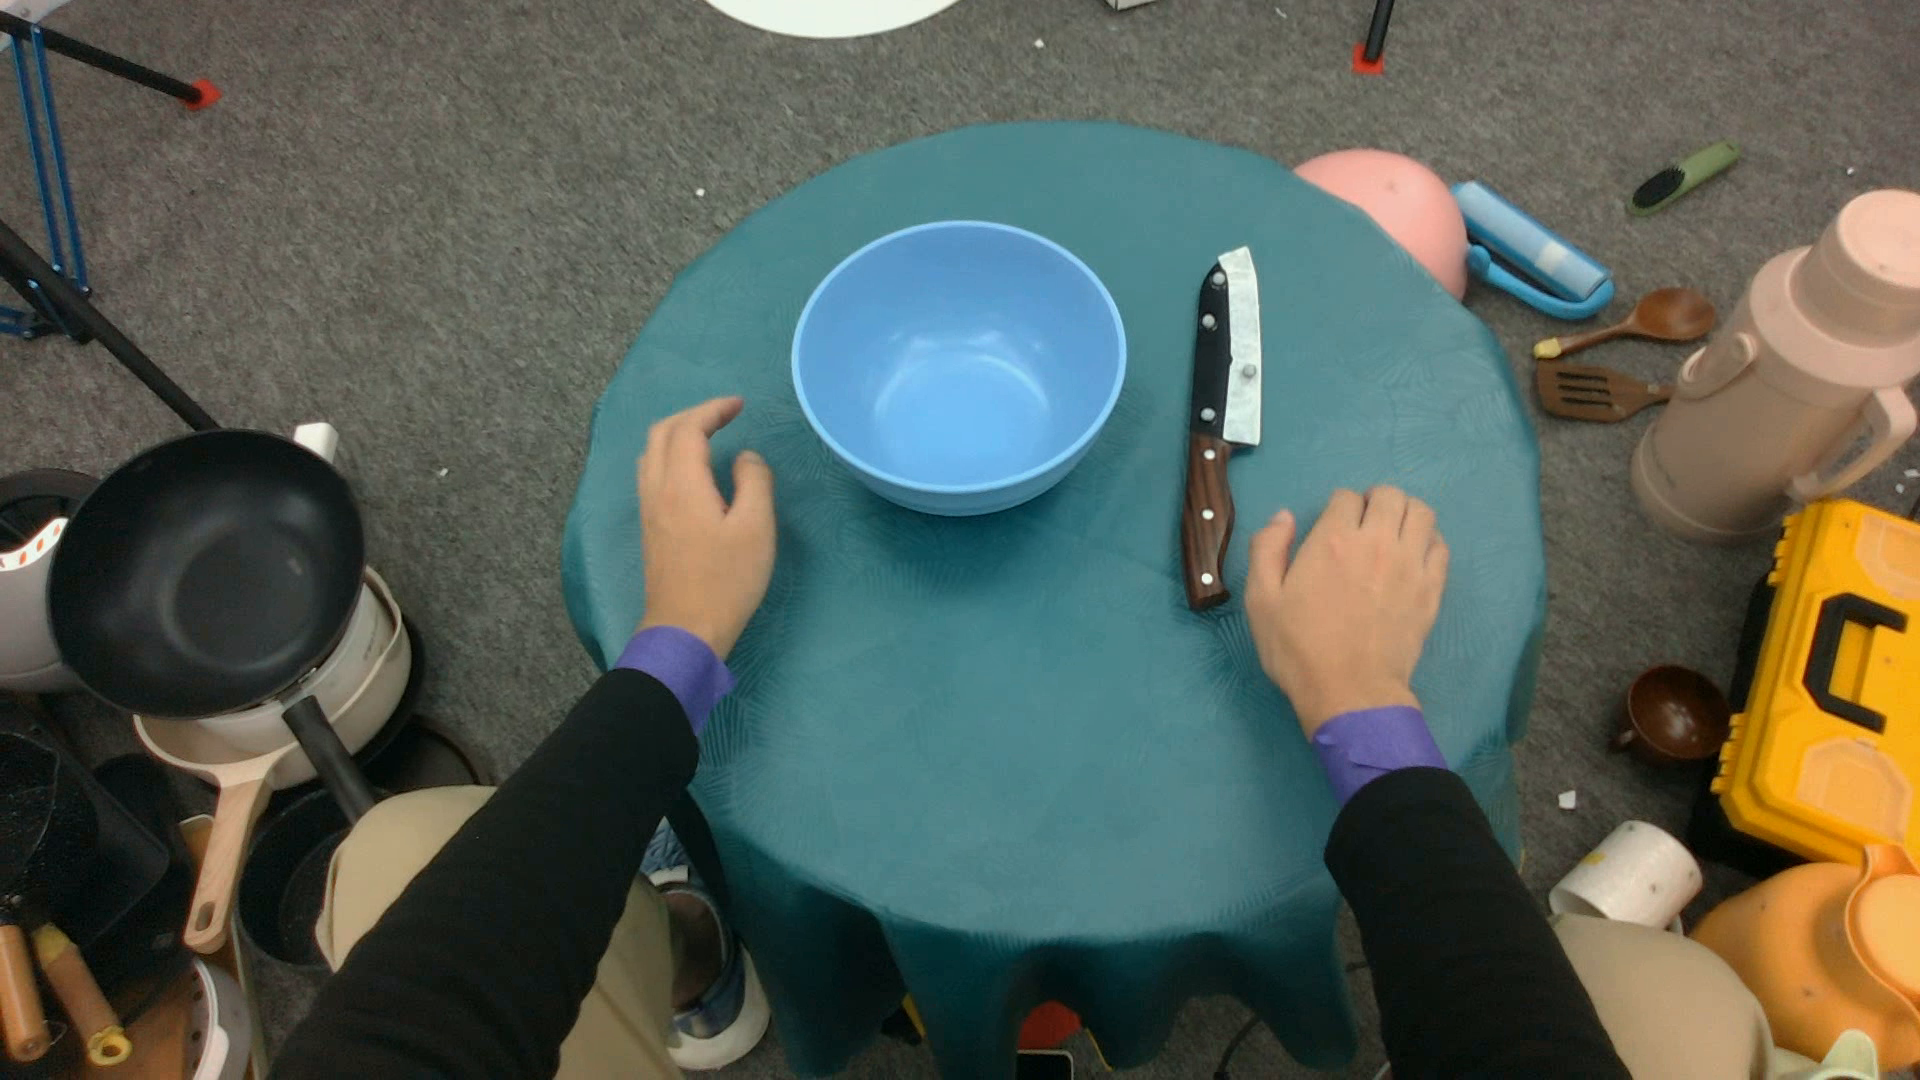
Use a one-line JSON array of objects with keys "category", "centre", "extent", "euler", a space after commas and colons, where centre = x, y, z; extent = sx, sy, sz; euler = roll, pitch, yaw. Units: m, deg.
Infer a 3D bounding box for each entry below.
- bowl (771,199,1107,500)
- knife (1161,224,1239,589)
[{"category": "bowl", "centre": [-0.012, -0.101, 0.843], "extent": [0.196, 0.095, 0.197], "euler": [0, 63, 1]}, {"category": "knife", "centre": [0.154, -0.095, 0.877], "extent": [0.050, 0.020, 0.290], "euler": [10, 60, 1]}]
